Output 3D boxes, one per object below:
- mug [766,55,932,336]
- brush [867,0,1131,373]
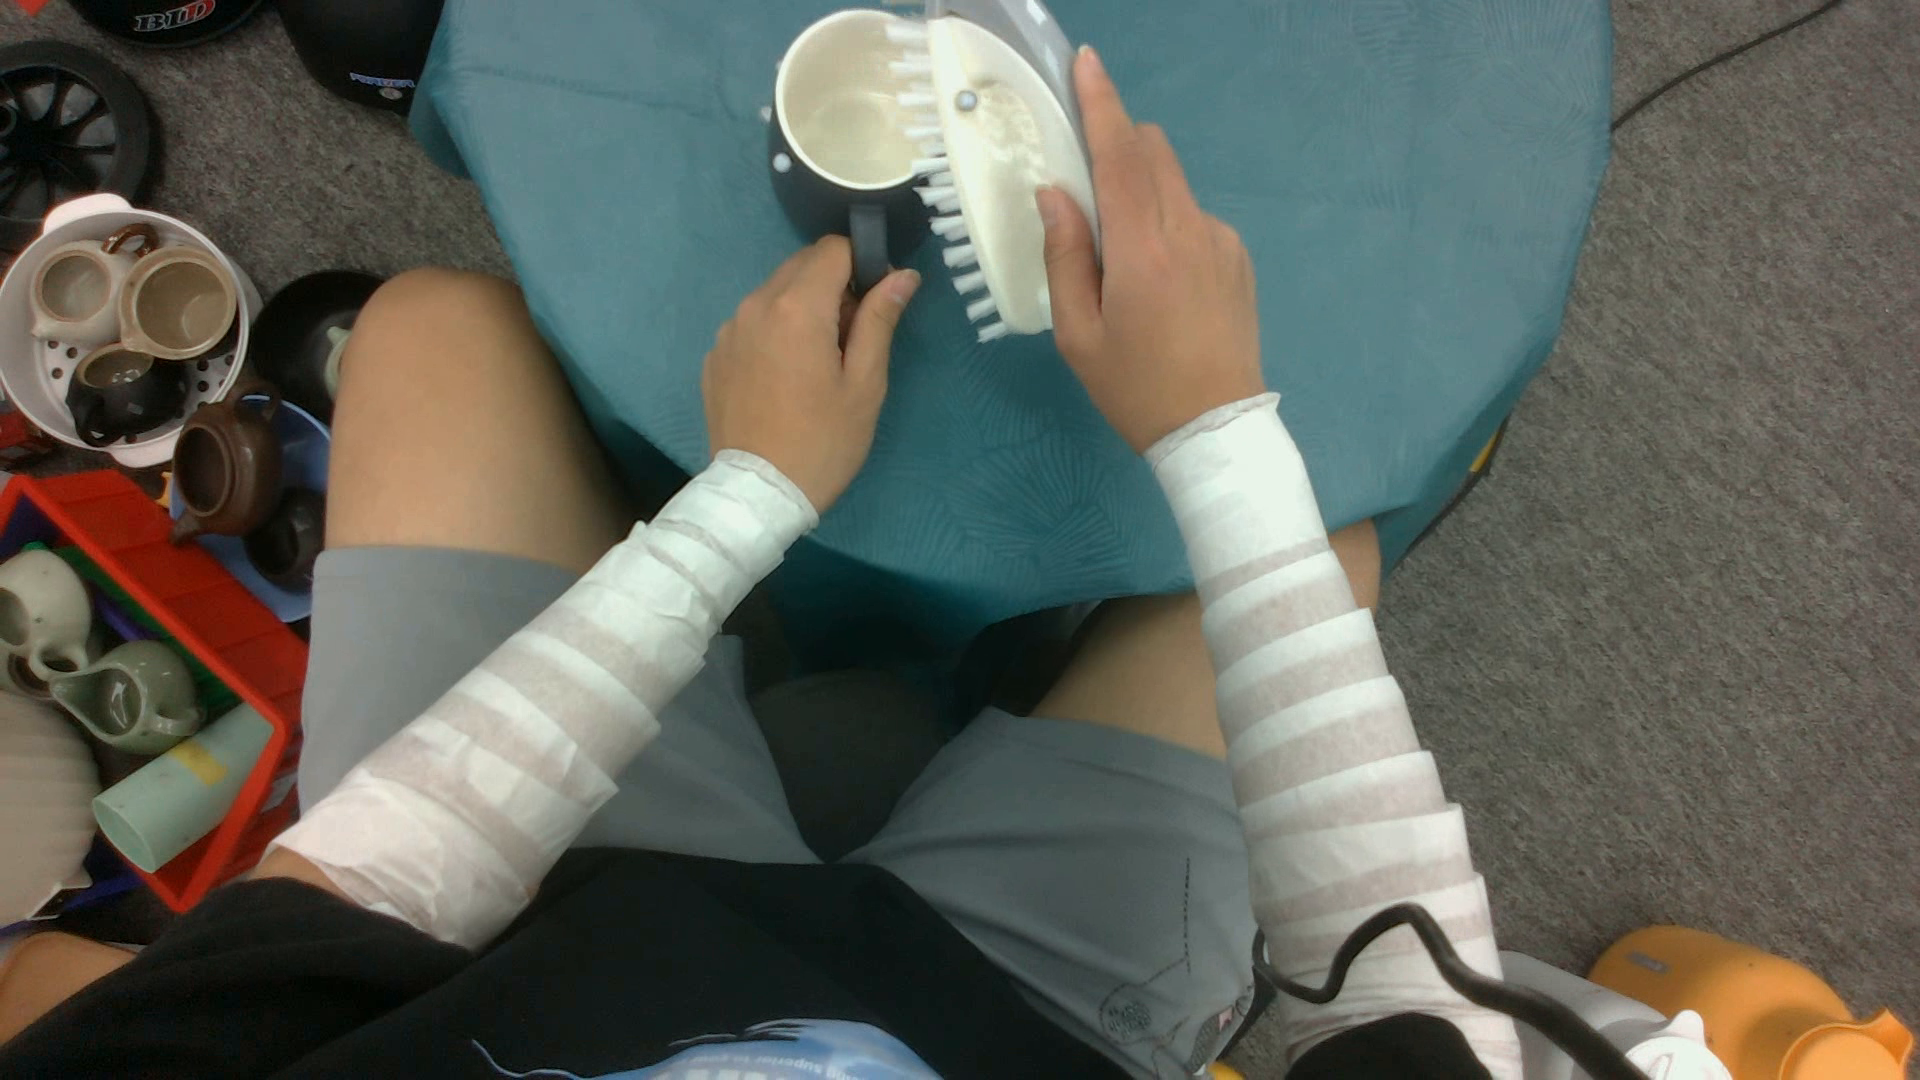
[{"bbox_3d":[-0.047,-0.160,0.660,0.093,0.090,0.123,-2,83,-5],"label":"mug"},{"bbox_3d":[0.020,-0.160,0.594,0.062,0.094,0.175,-37,113,-32],"label":"brush"}]
